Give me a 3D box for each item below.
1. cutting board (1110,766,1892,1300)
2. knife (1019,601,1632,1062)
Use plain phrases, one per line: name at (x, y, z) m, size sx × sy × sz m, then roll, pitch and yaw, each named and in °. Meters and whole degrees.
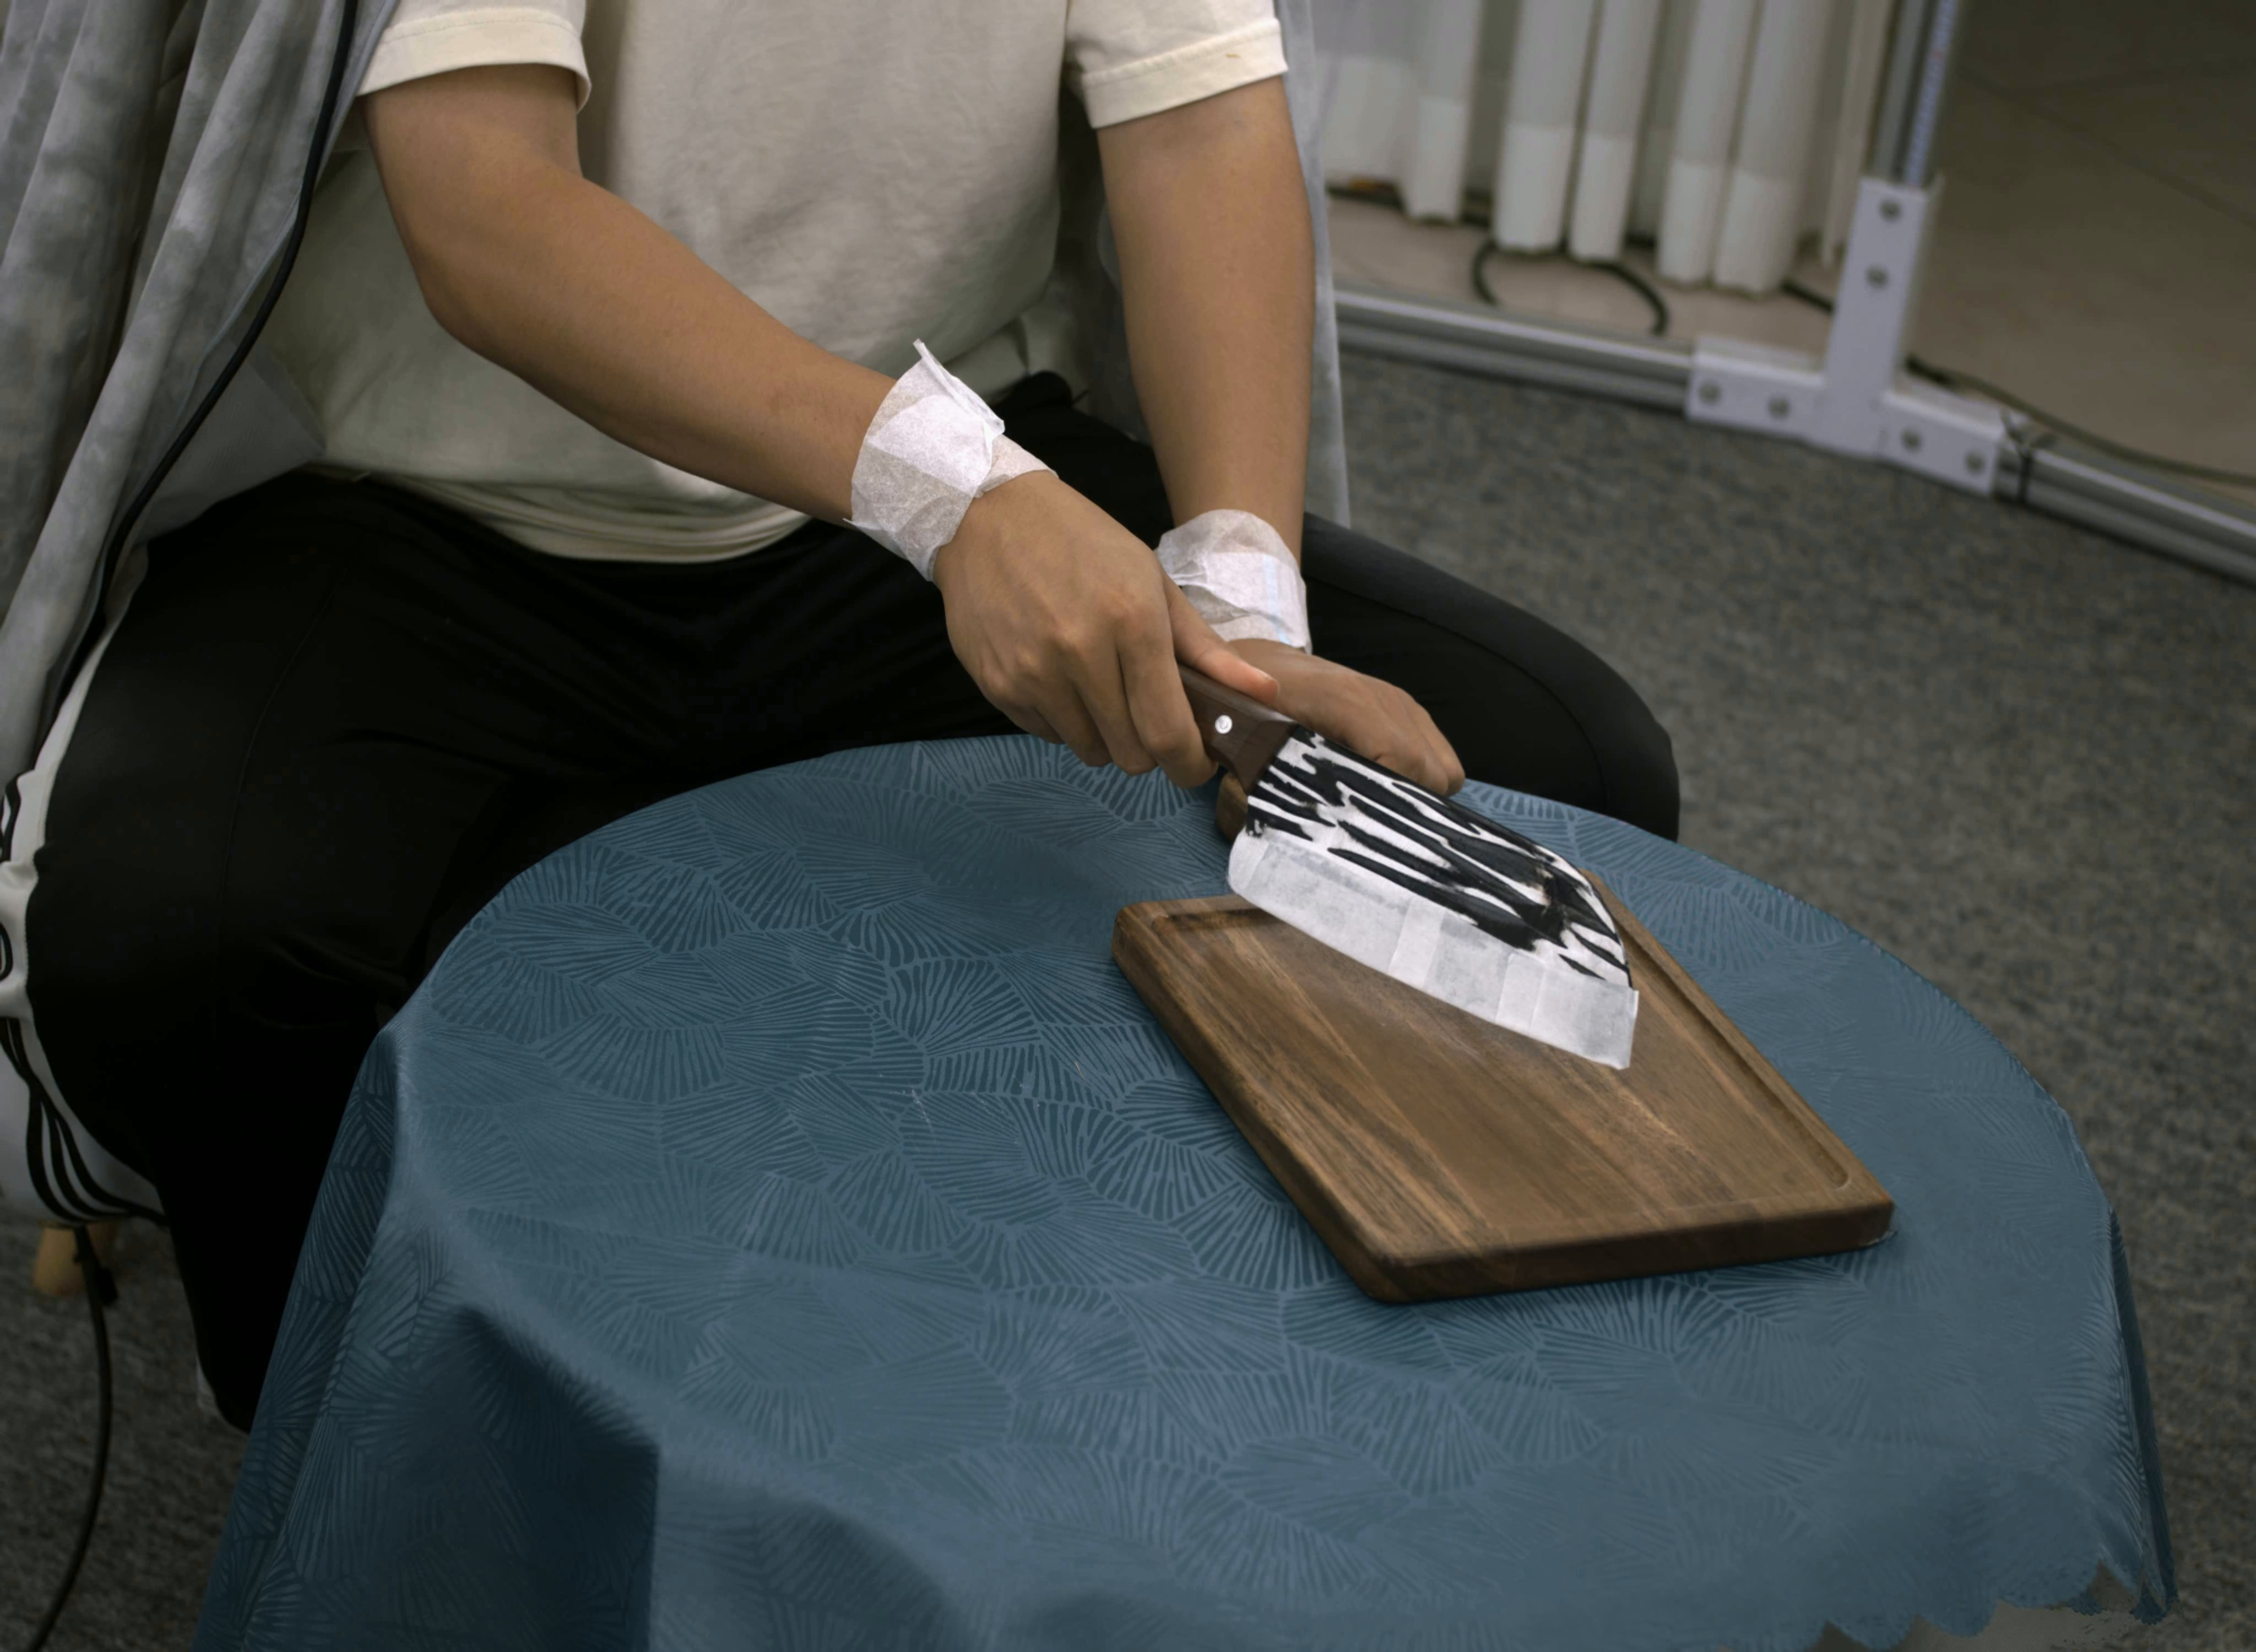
cutting board at (0.110, 0.063, 1.926) m, size 0.200 × 0.023 × 0.355 m, roll -5°, pitch 28°, yaw -21°
knife at (0.067, 0.001, 1.935) m, size 0.301 × 0.068 × 0.024 m, roll 28°, pitch 5°, yaw 30°
